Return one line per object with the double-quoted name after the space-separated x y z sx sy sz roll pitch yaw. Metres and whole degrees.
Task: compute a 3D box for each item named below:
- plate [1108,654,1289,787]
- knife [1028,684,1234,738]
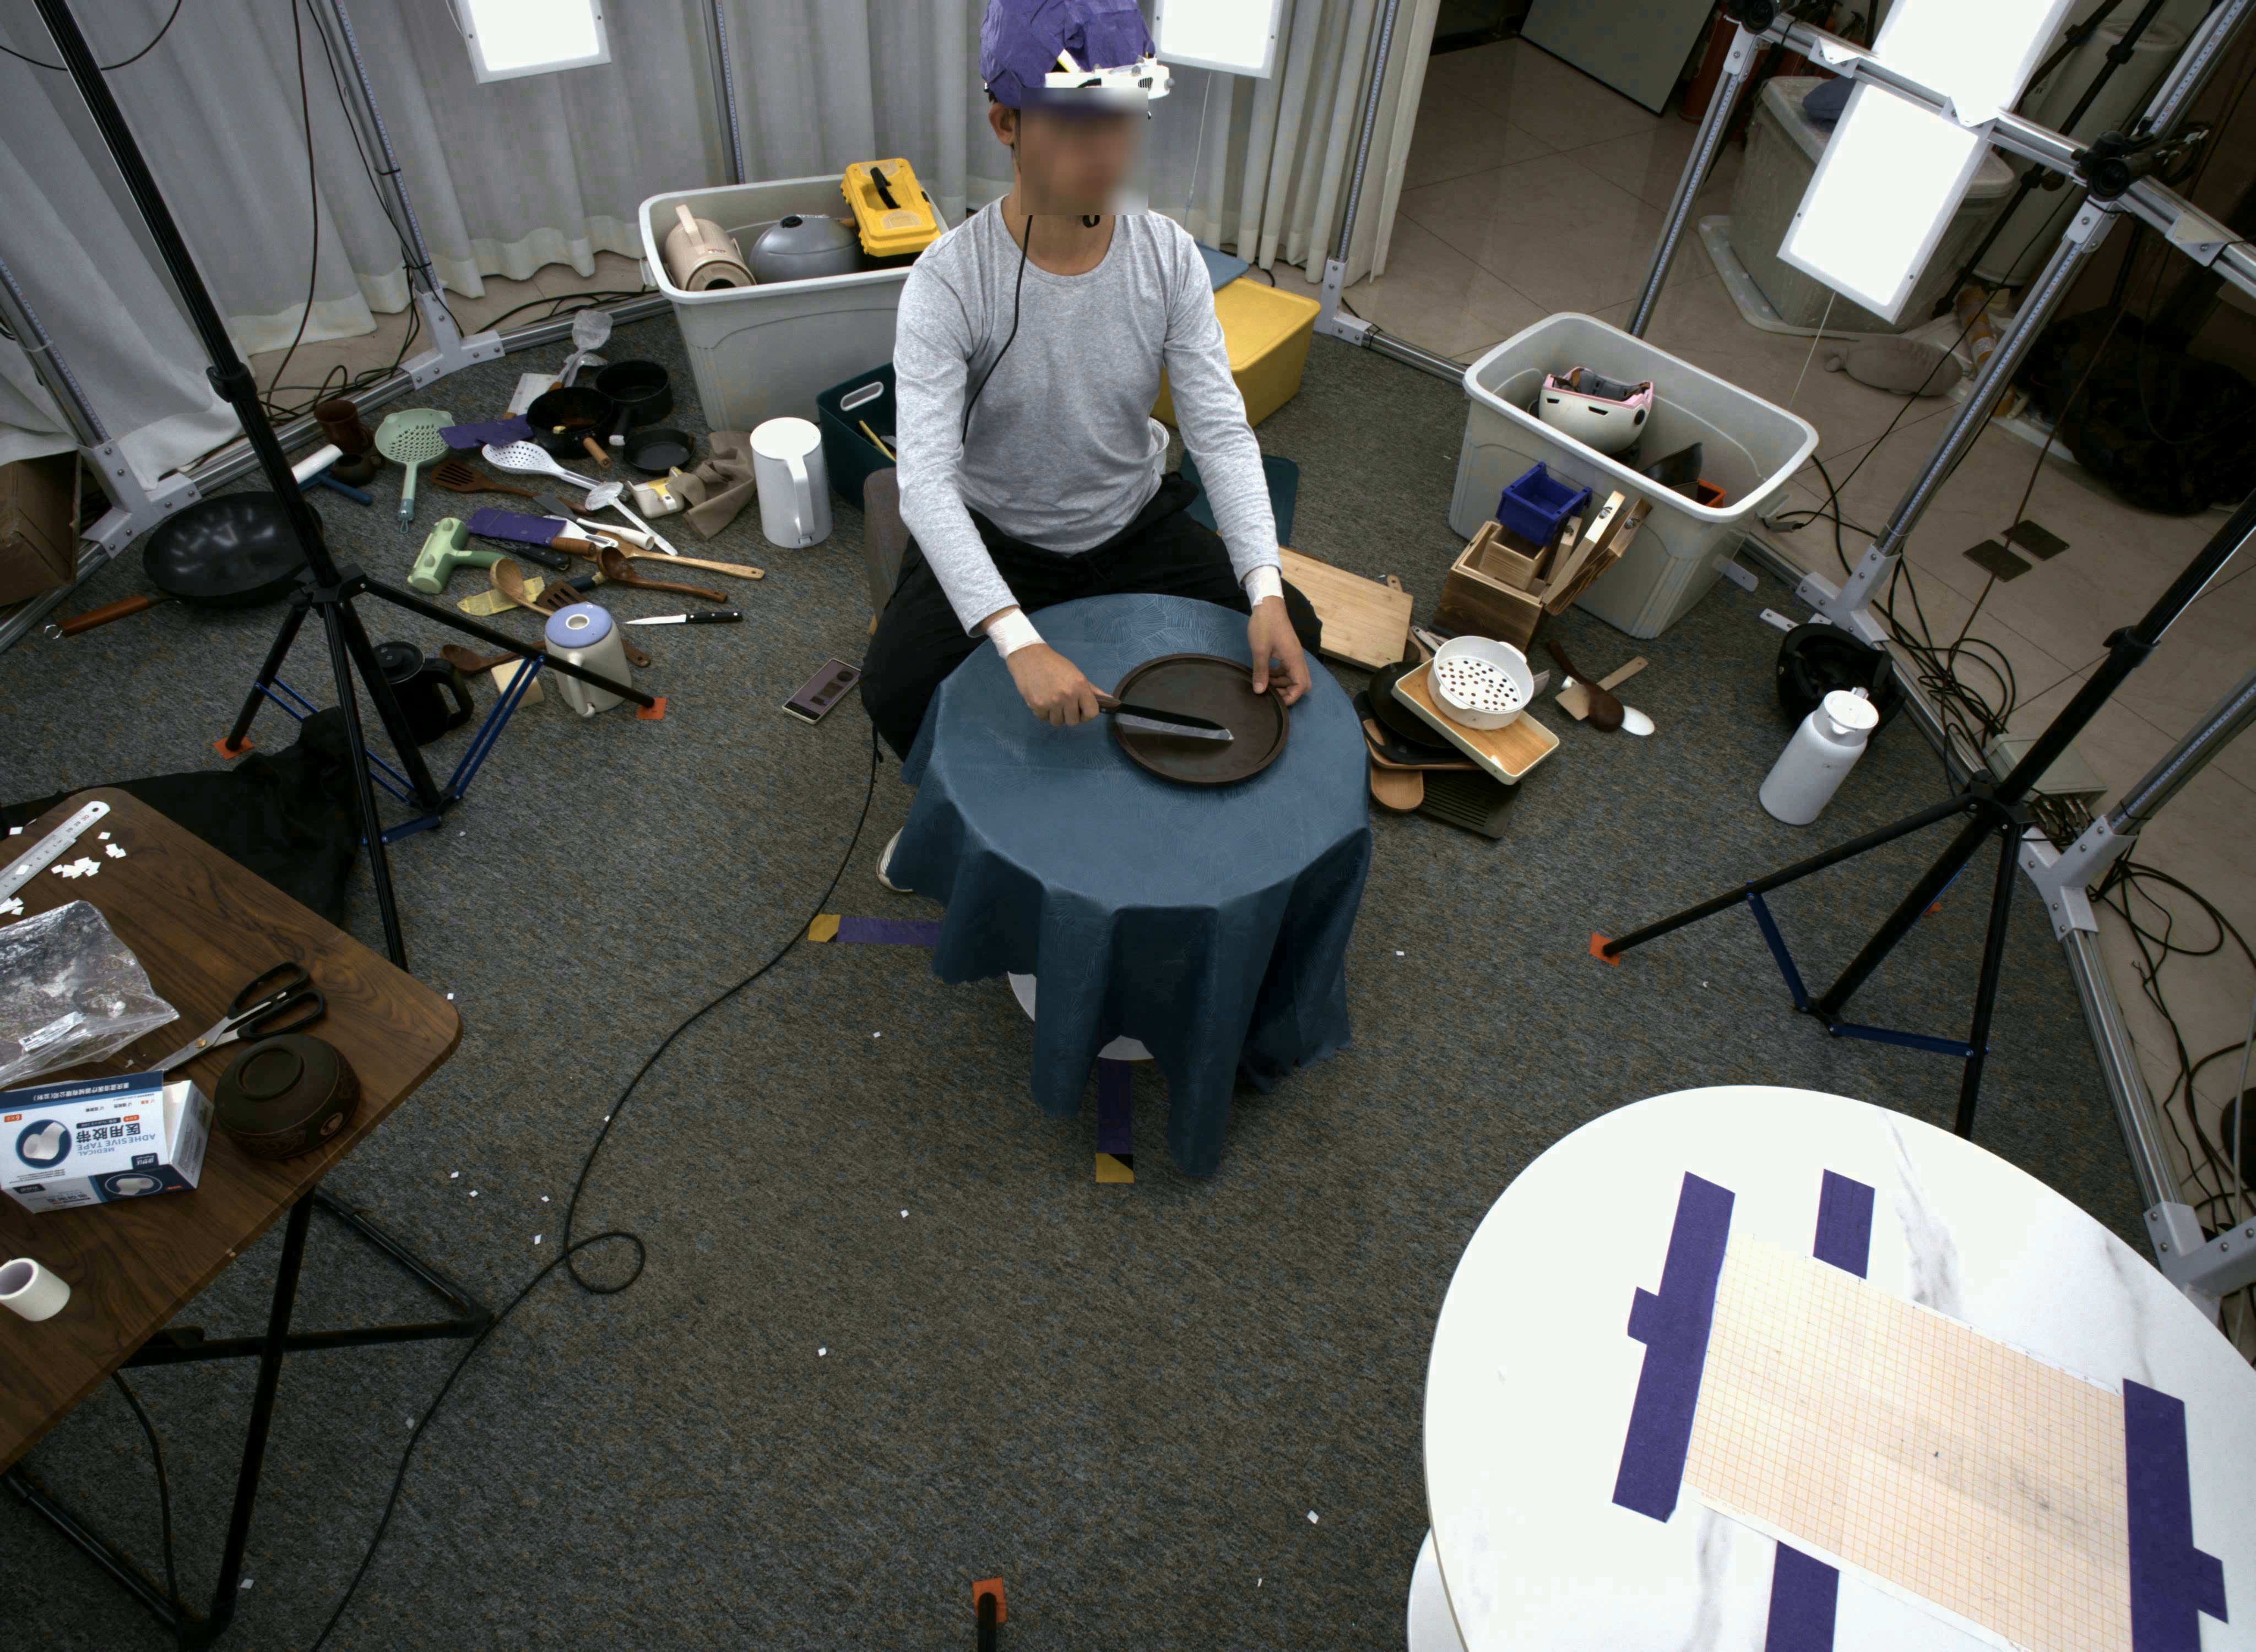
0.098 -0.149 1.788 0.254 0.028 0.261 0 49 -1 "plate"
0.006 -0.153 1.741 0.288 0.049 0.020 12 58 -6 "knife"
